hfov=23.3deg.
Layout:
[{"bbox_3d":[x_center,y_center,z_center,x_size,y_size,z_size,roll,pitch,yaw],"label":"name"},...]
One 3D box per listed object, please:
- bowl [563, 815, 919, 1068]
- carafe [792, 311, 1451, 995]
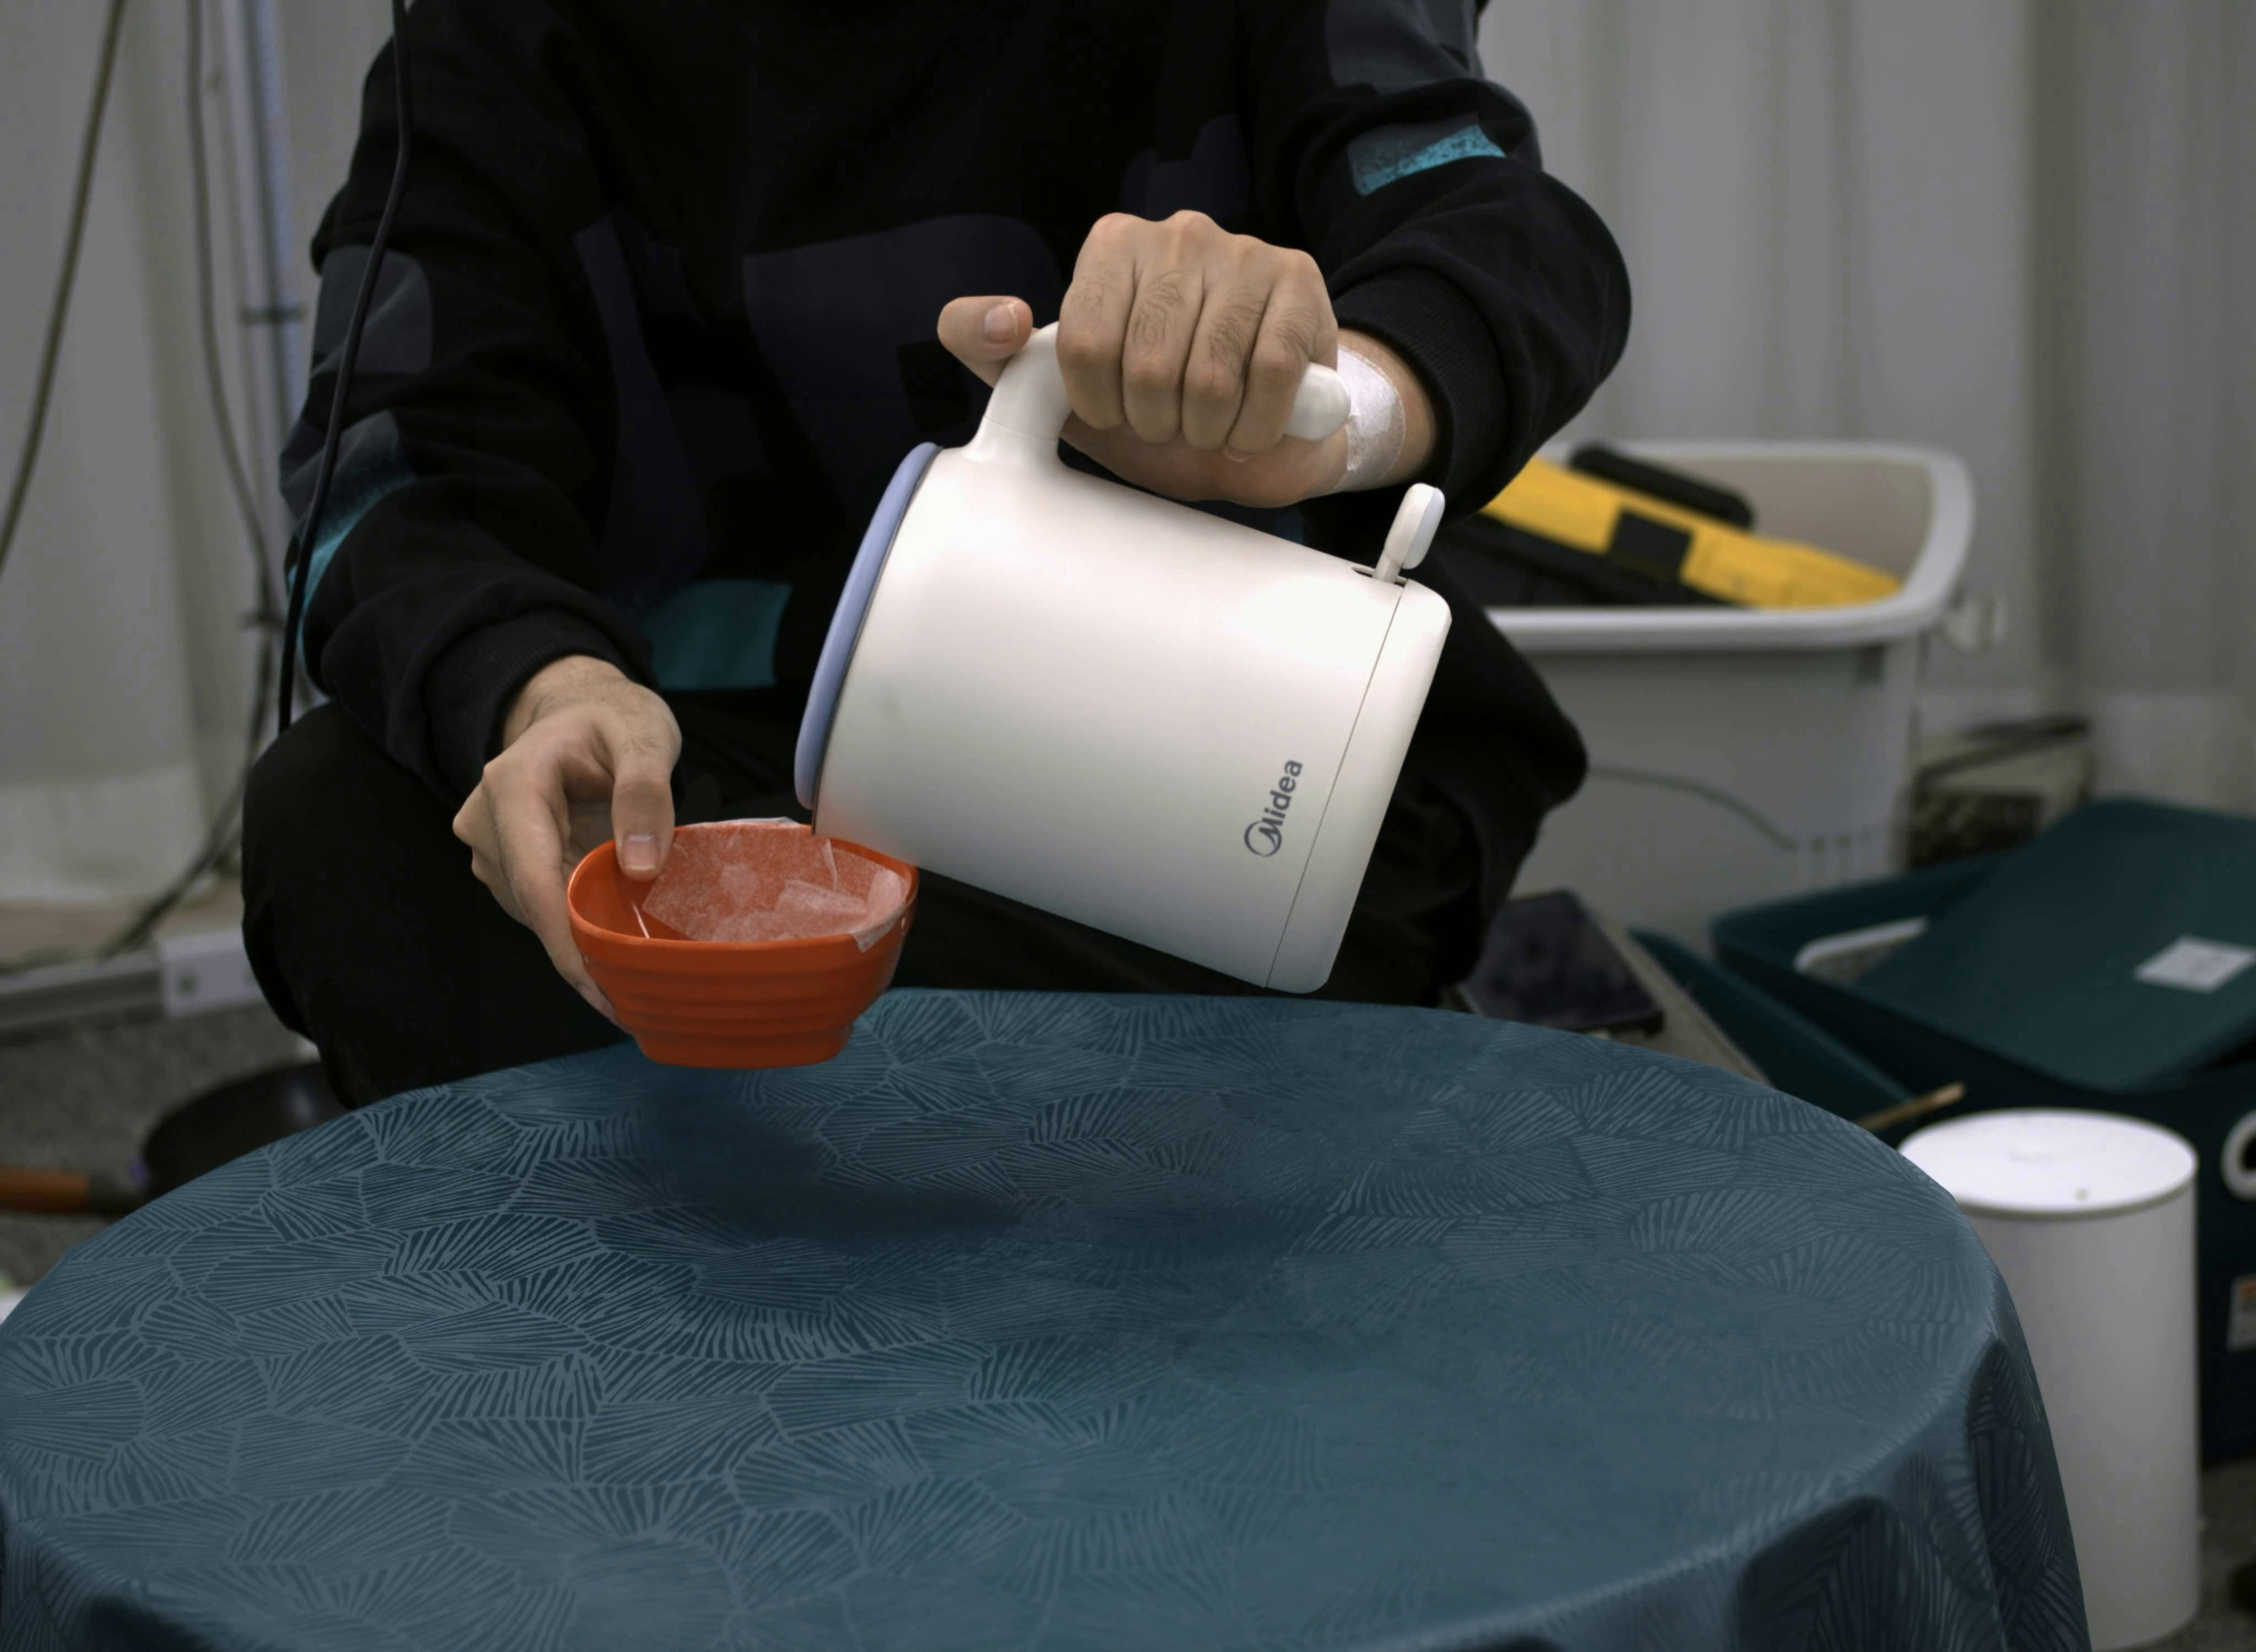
[{"bbox_3d":[-0.119,0.039,1.704,0.118,0.051,0.120,-2,21,0],"label":"bowl"},{"bbox_3d":[0.007,-0.058,1.660,0.182,0.191,0.132,21,10,2],"label":"carafe"}]
